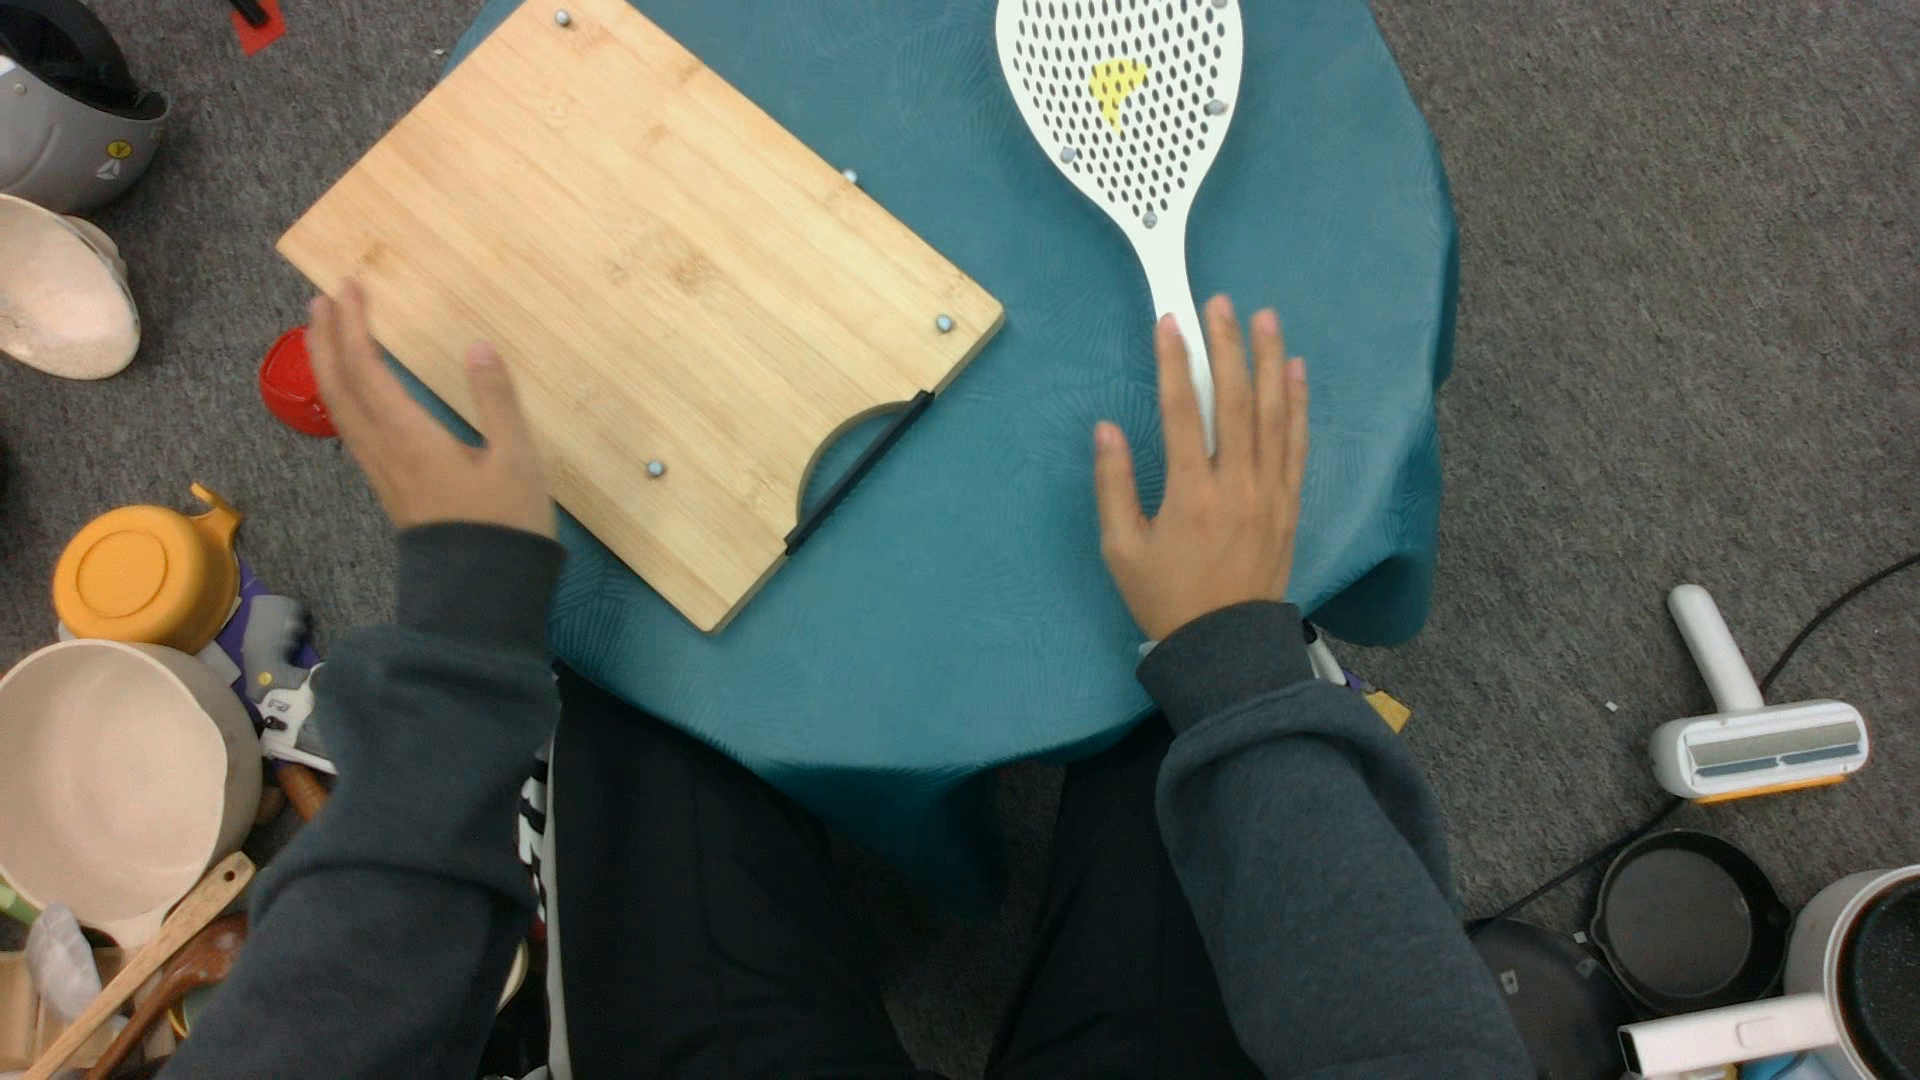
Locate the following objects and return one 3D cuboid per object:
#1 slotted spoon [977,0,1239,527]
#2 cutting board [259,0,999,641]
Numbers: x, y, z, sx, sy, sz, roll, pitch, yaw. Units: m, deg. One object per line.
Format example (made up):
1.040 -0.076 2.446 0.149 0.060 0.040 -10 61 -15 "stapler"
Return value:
0.100 -0.177 0.752 0.137 0.050 0.348 -11 76 -3 "slotted spoon"
-0.185 -0.147 0.768 0.349 0.023 0.251 39 81 10 "cutting board"
